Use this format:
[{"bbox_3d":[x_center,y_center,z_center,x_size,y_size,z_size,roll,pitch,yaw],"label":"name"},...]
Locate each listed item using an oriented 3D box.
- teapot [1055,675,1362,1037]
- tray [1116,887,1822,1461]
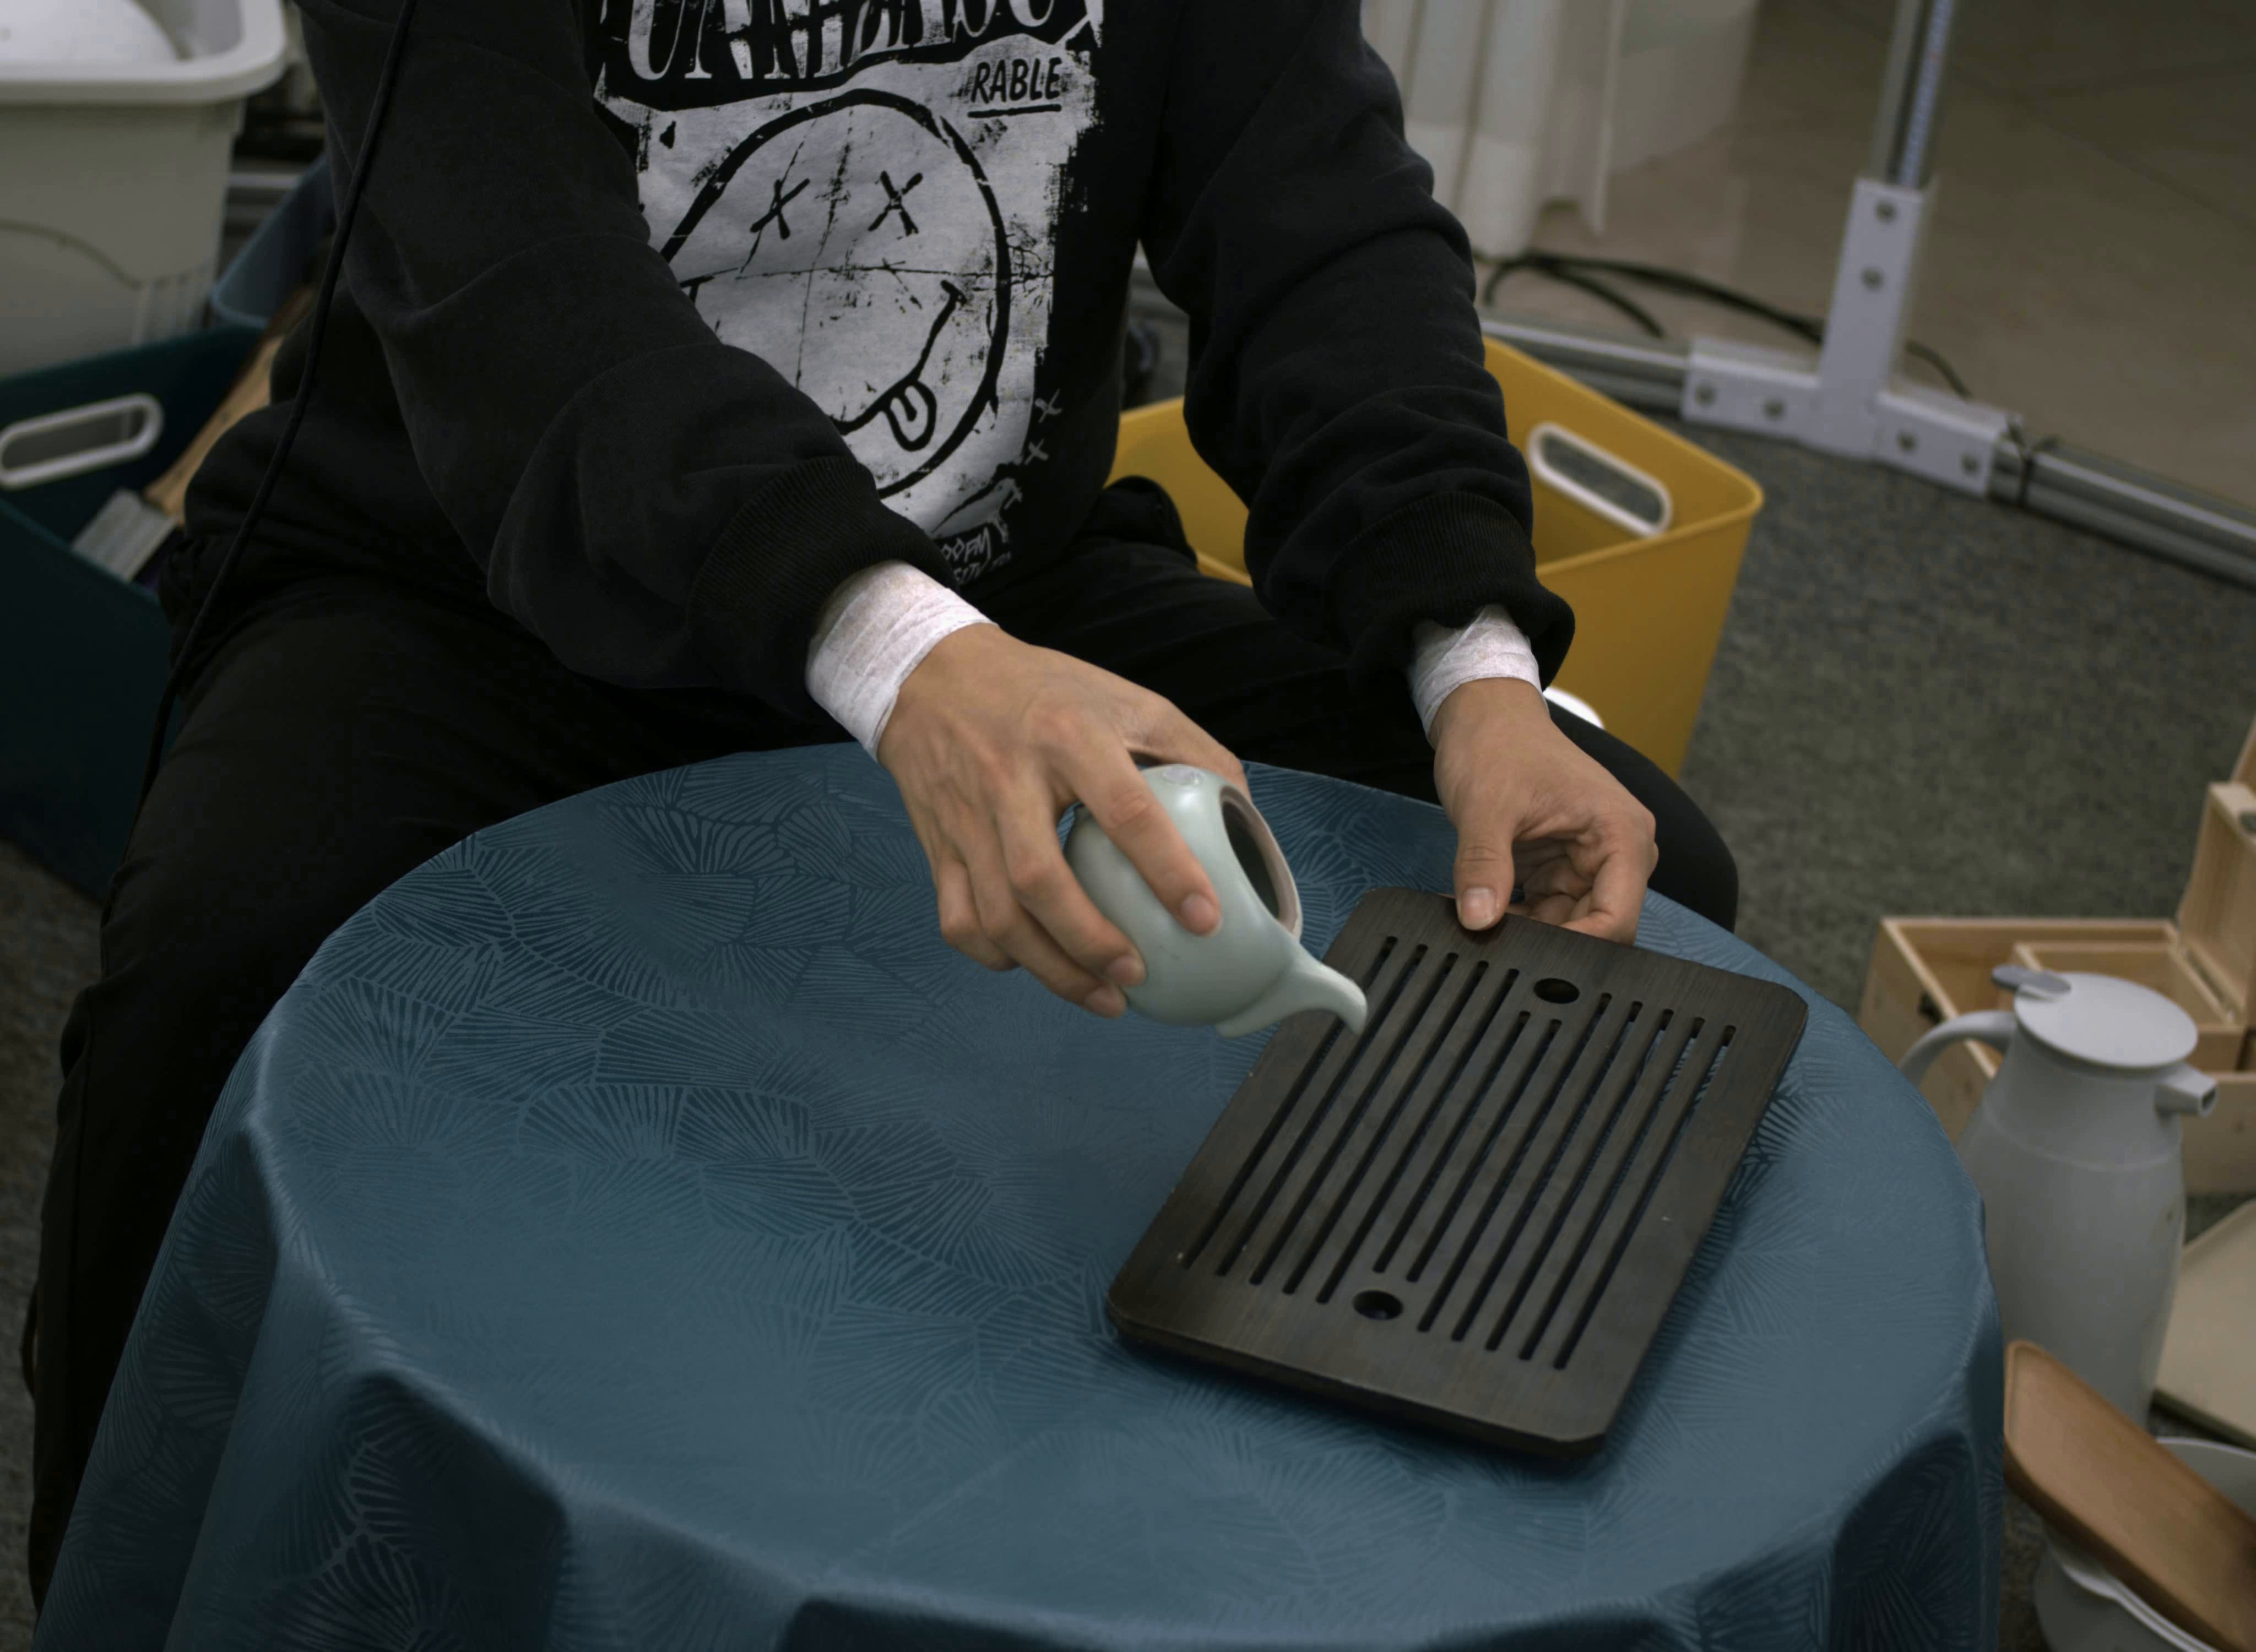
[{"bbox_3d":[0.017,0.022,1.767,0.075,0.143,0.088,-24,16,15],"label":"teapot"},{"bbox_3d":[0.122,0.115,1.814,0.170,0.018,0.306,14,31,15],"label":"tray"}]
